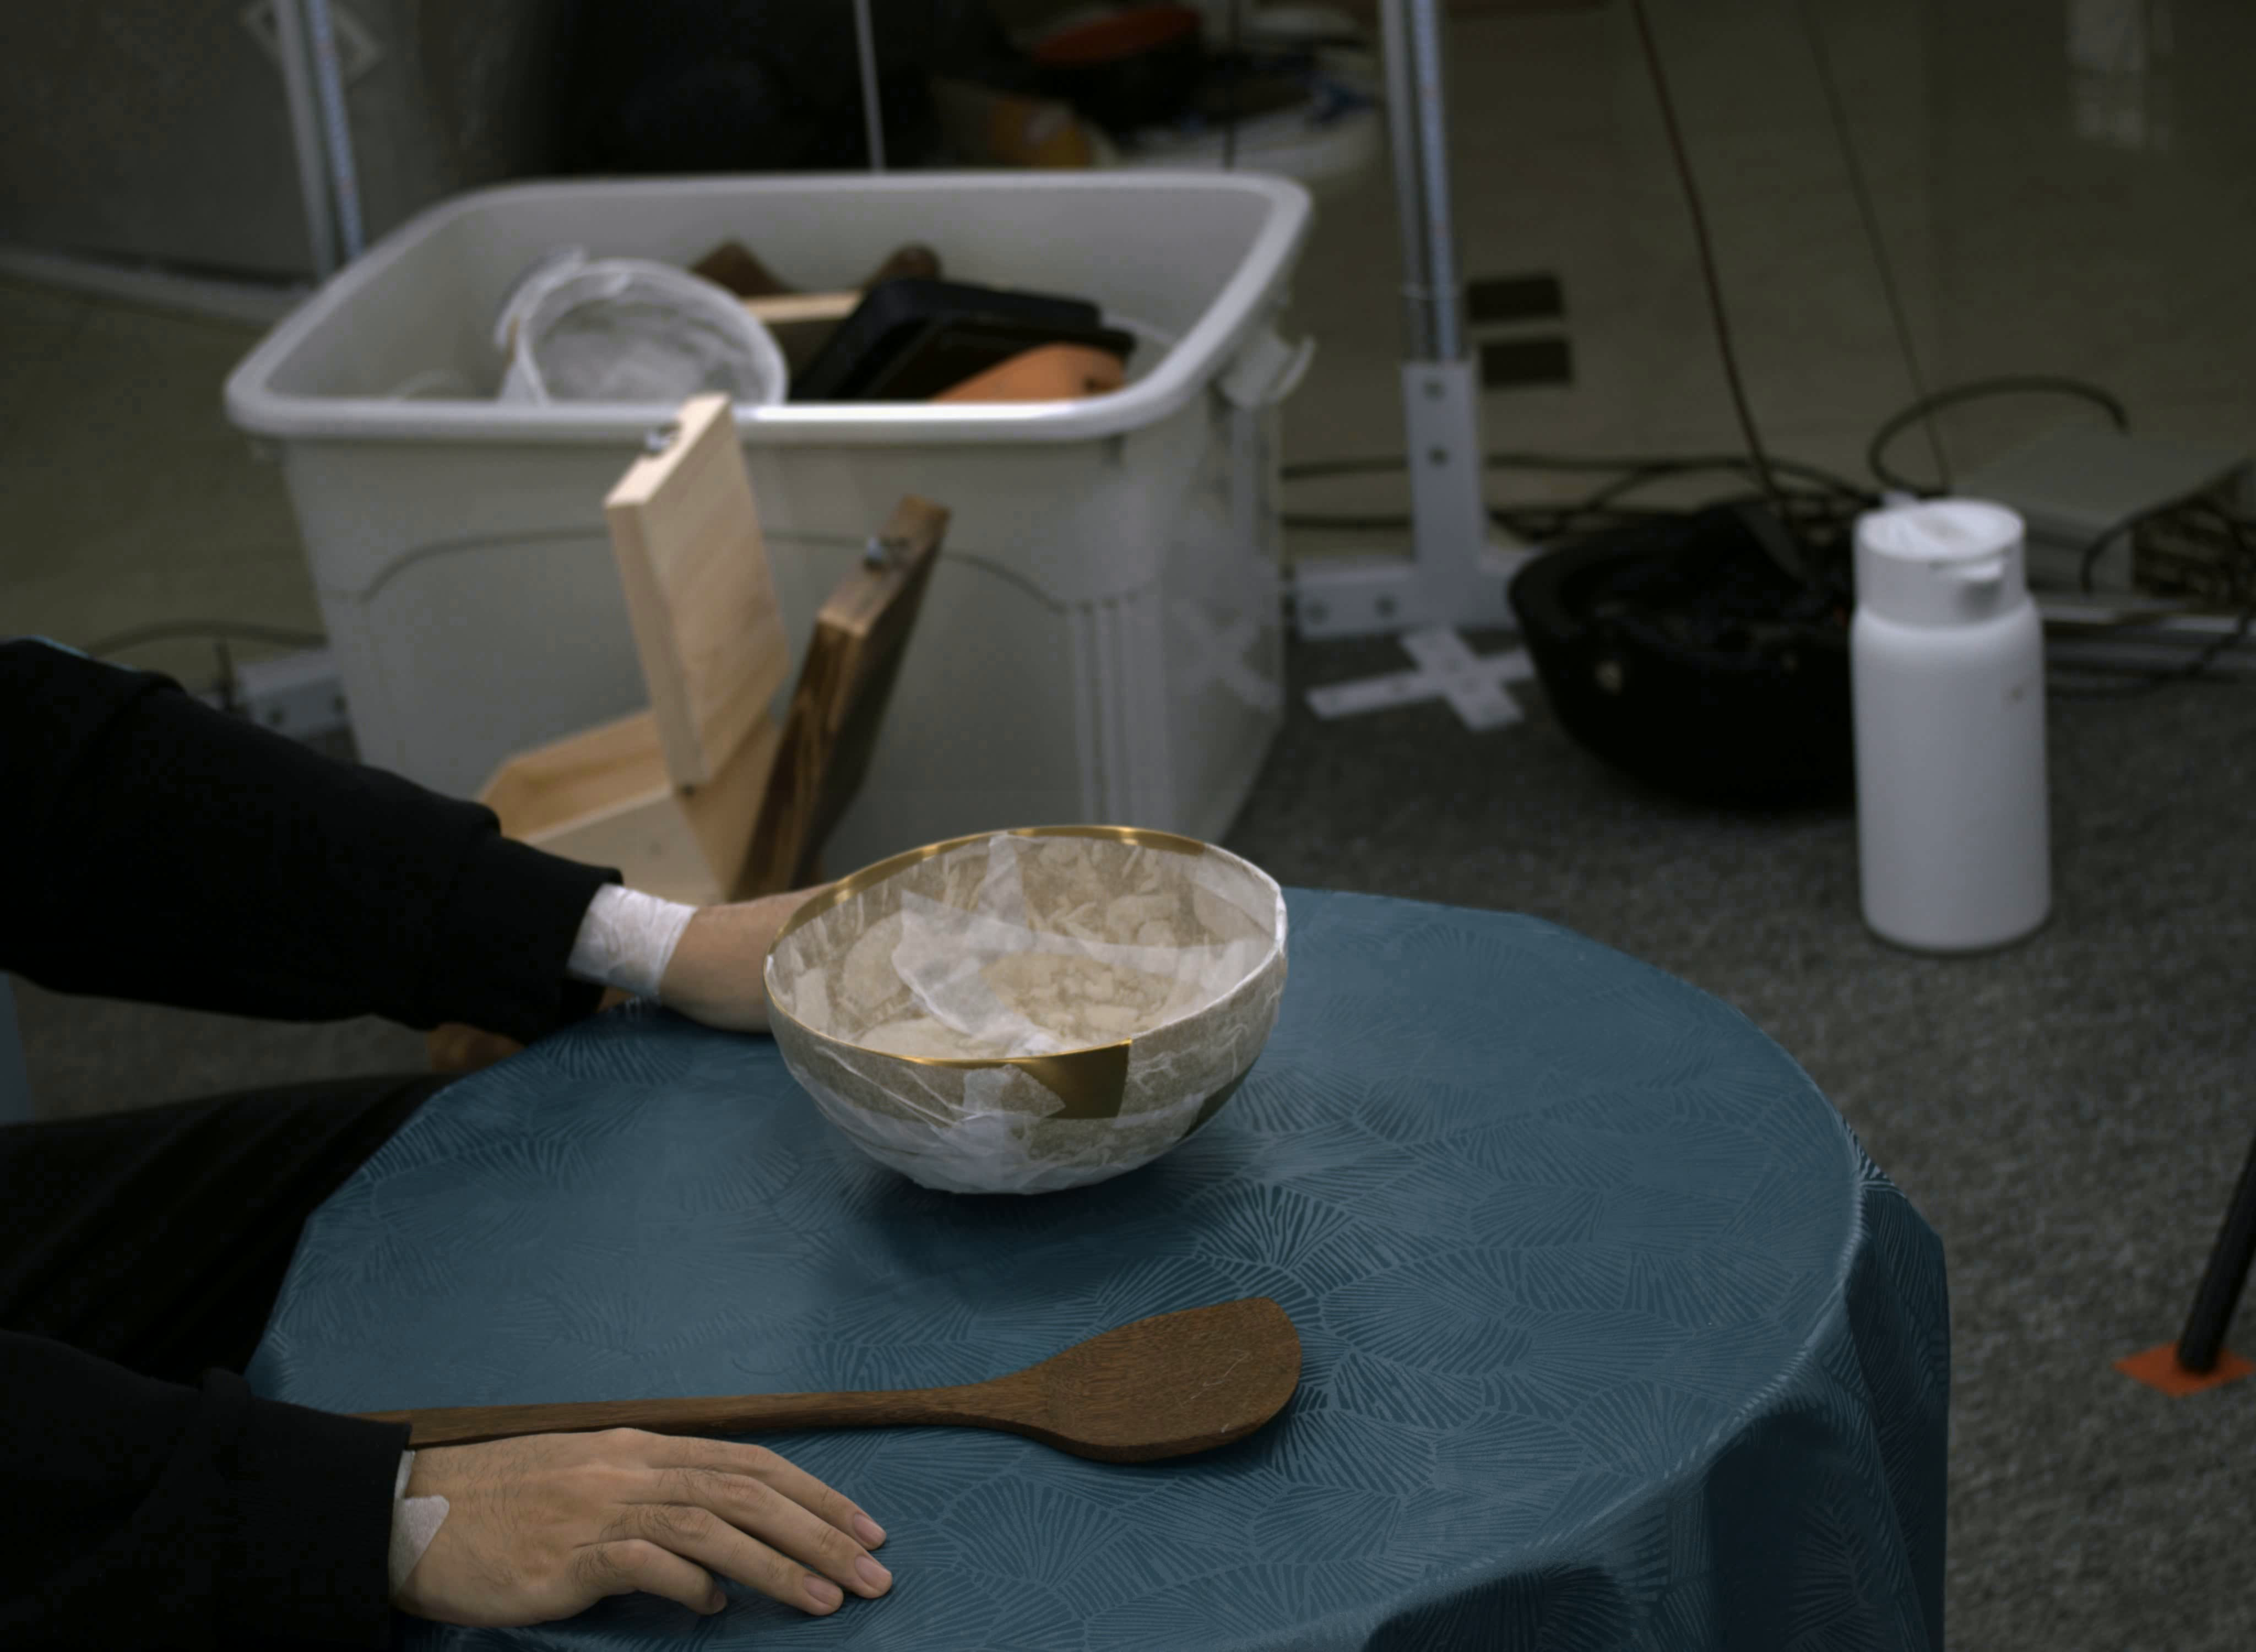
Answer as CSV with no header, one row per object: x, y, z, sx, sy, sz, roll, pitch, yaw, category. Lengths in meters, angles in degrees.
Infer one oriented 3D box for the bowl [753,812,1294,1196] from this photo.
-0.036,0.081,2.173,0.214,0.096,0.211,-6,26,3,bowl

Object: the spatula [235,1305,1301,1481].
-0.130,0.209,2.019,0.385,0.016,0.095,-4,25,5,spatula
